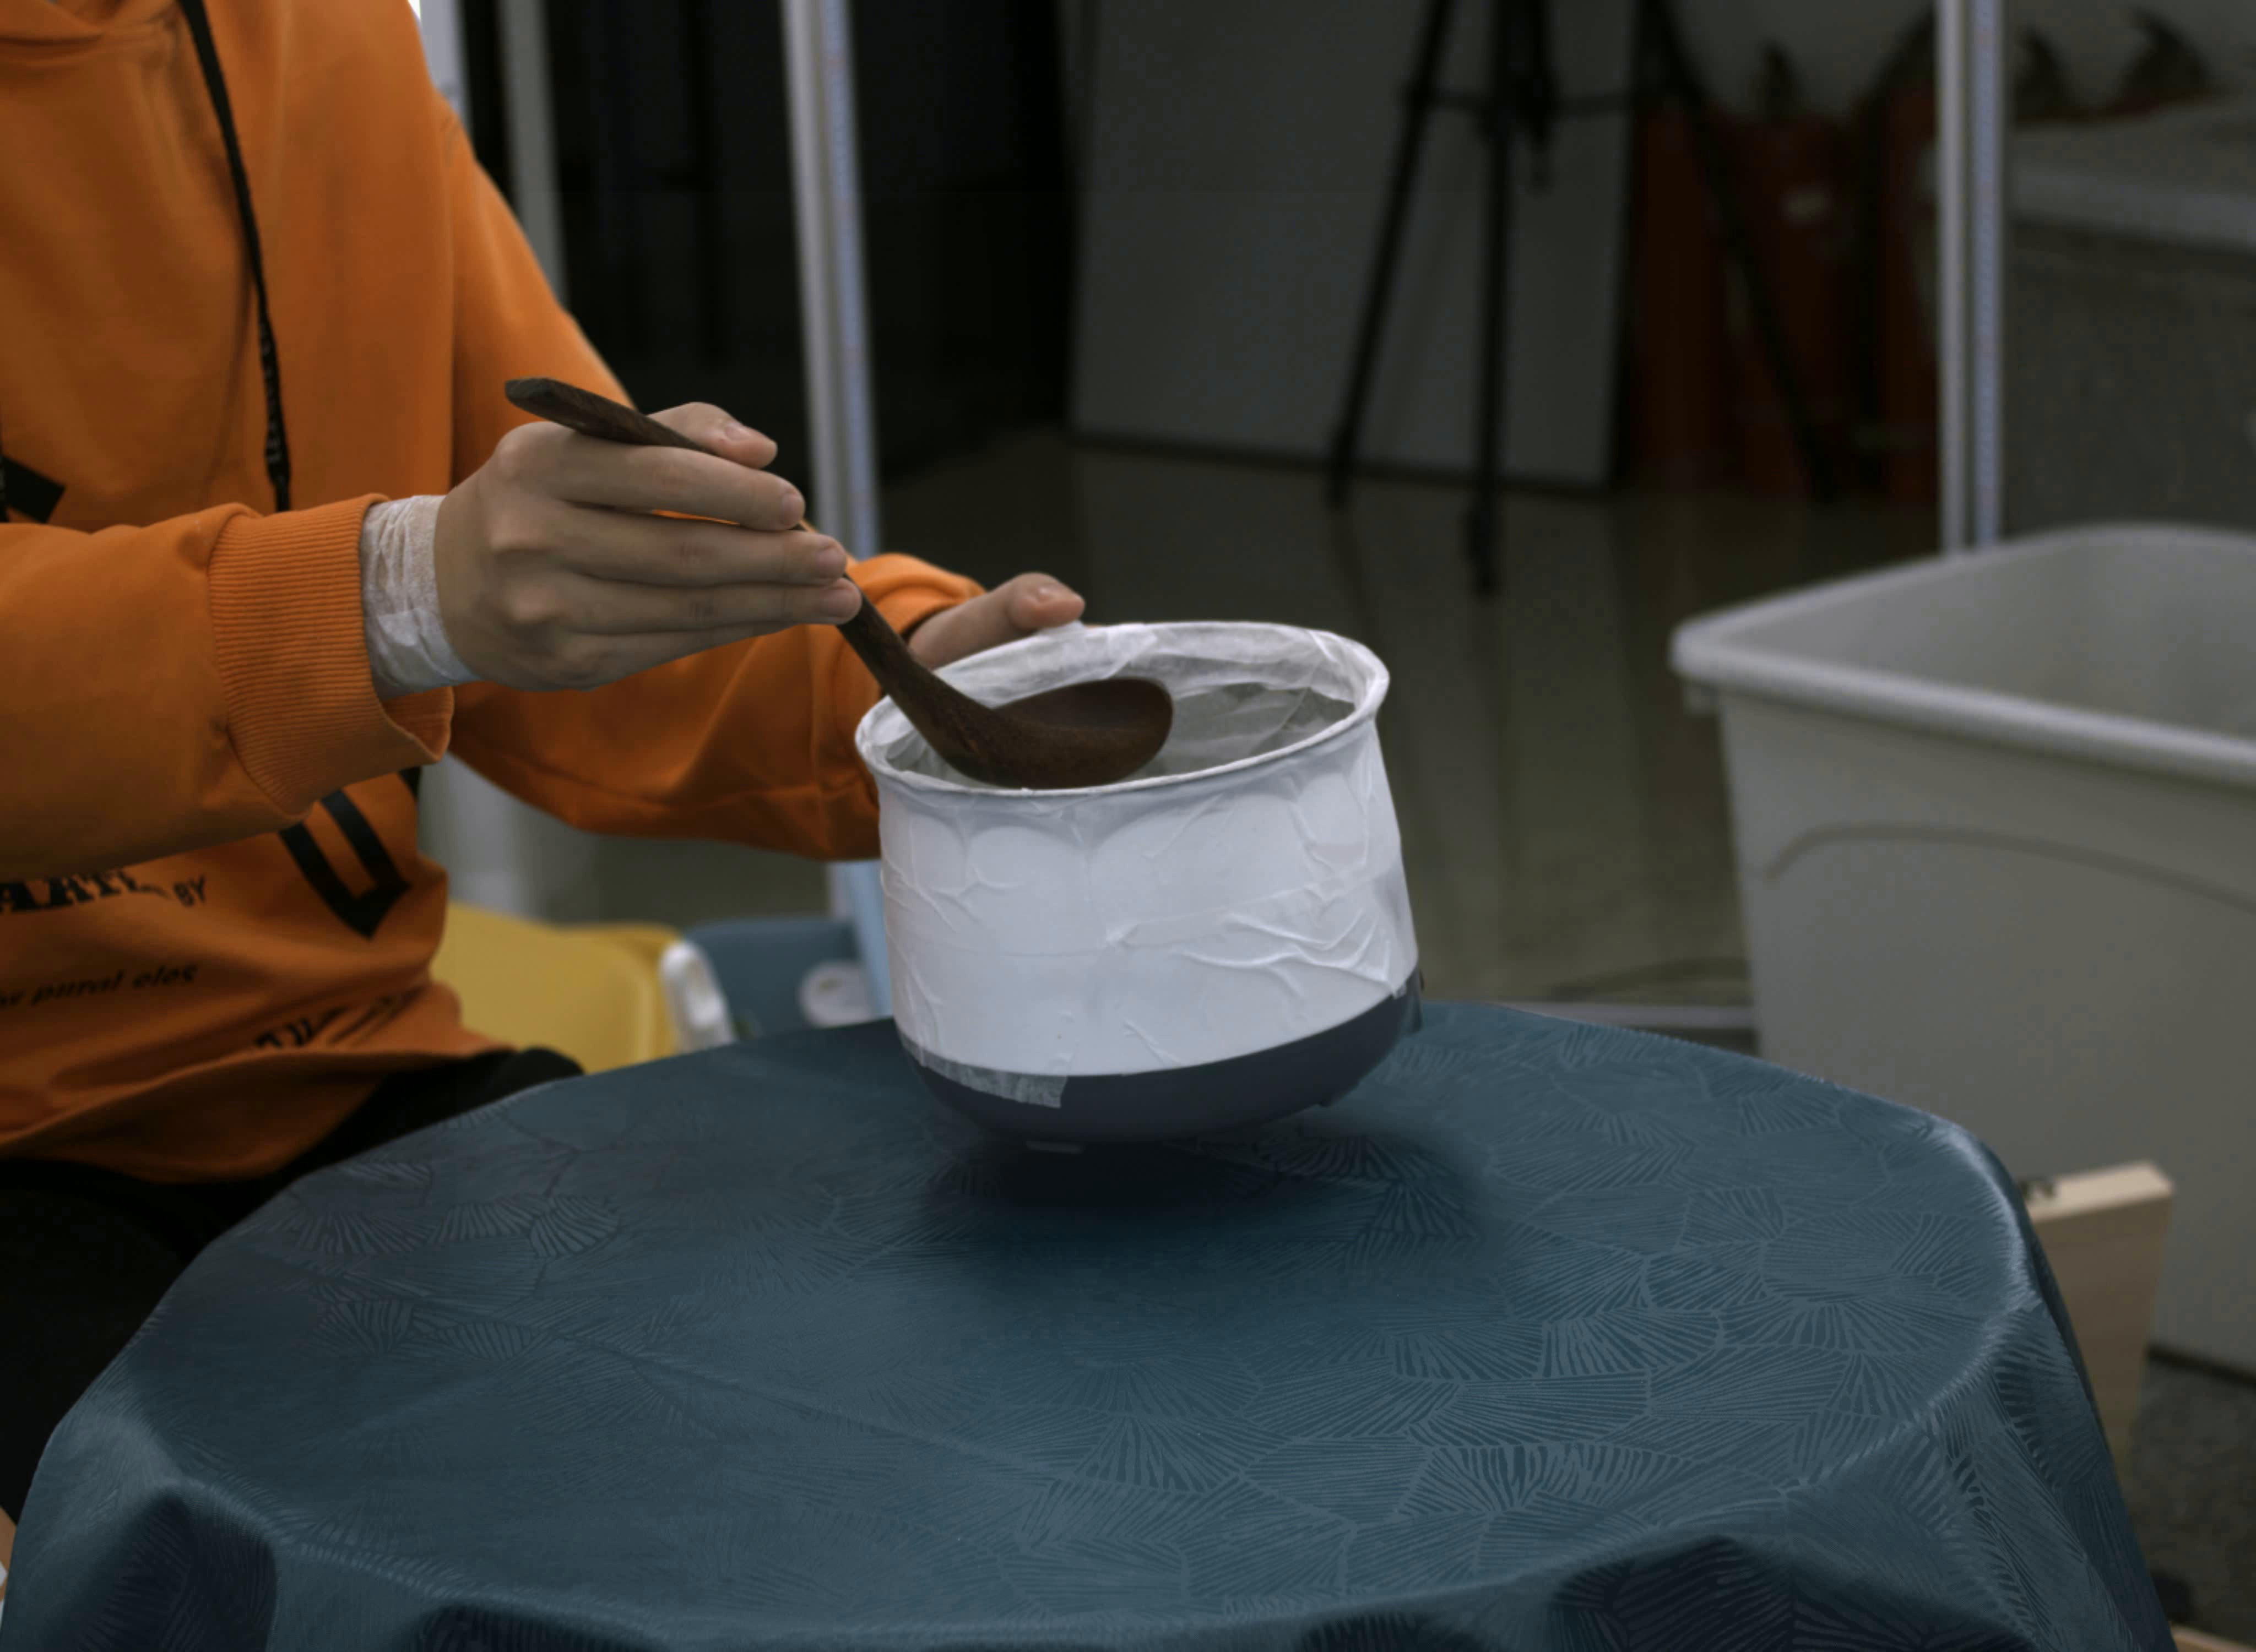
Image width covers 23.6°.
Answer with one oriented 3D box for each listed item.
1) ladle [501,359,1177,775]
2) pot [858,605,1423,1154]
[{"bbox_3d":[-0.087,-0.092,1.707,0.077,0.071,0.270,-1,-34,47],"label":"ladle"},{"bbox_3d":[-0.001,0.011,1.800,0.175,0.138,0.235,-10,18,-11],"label":"pot"}]
